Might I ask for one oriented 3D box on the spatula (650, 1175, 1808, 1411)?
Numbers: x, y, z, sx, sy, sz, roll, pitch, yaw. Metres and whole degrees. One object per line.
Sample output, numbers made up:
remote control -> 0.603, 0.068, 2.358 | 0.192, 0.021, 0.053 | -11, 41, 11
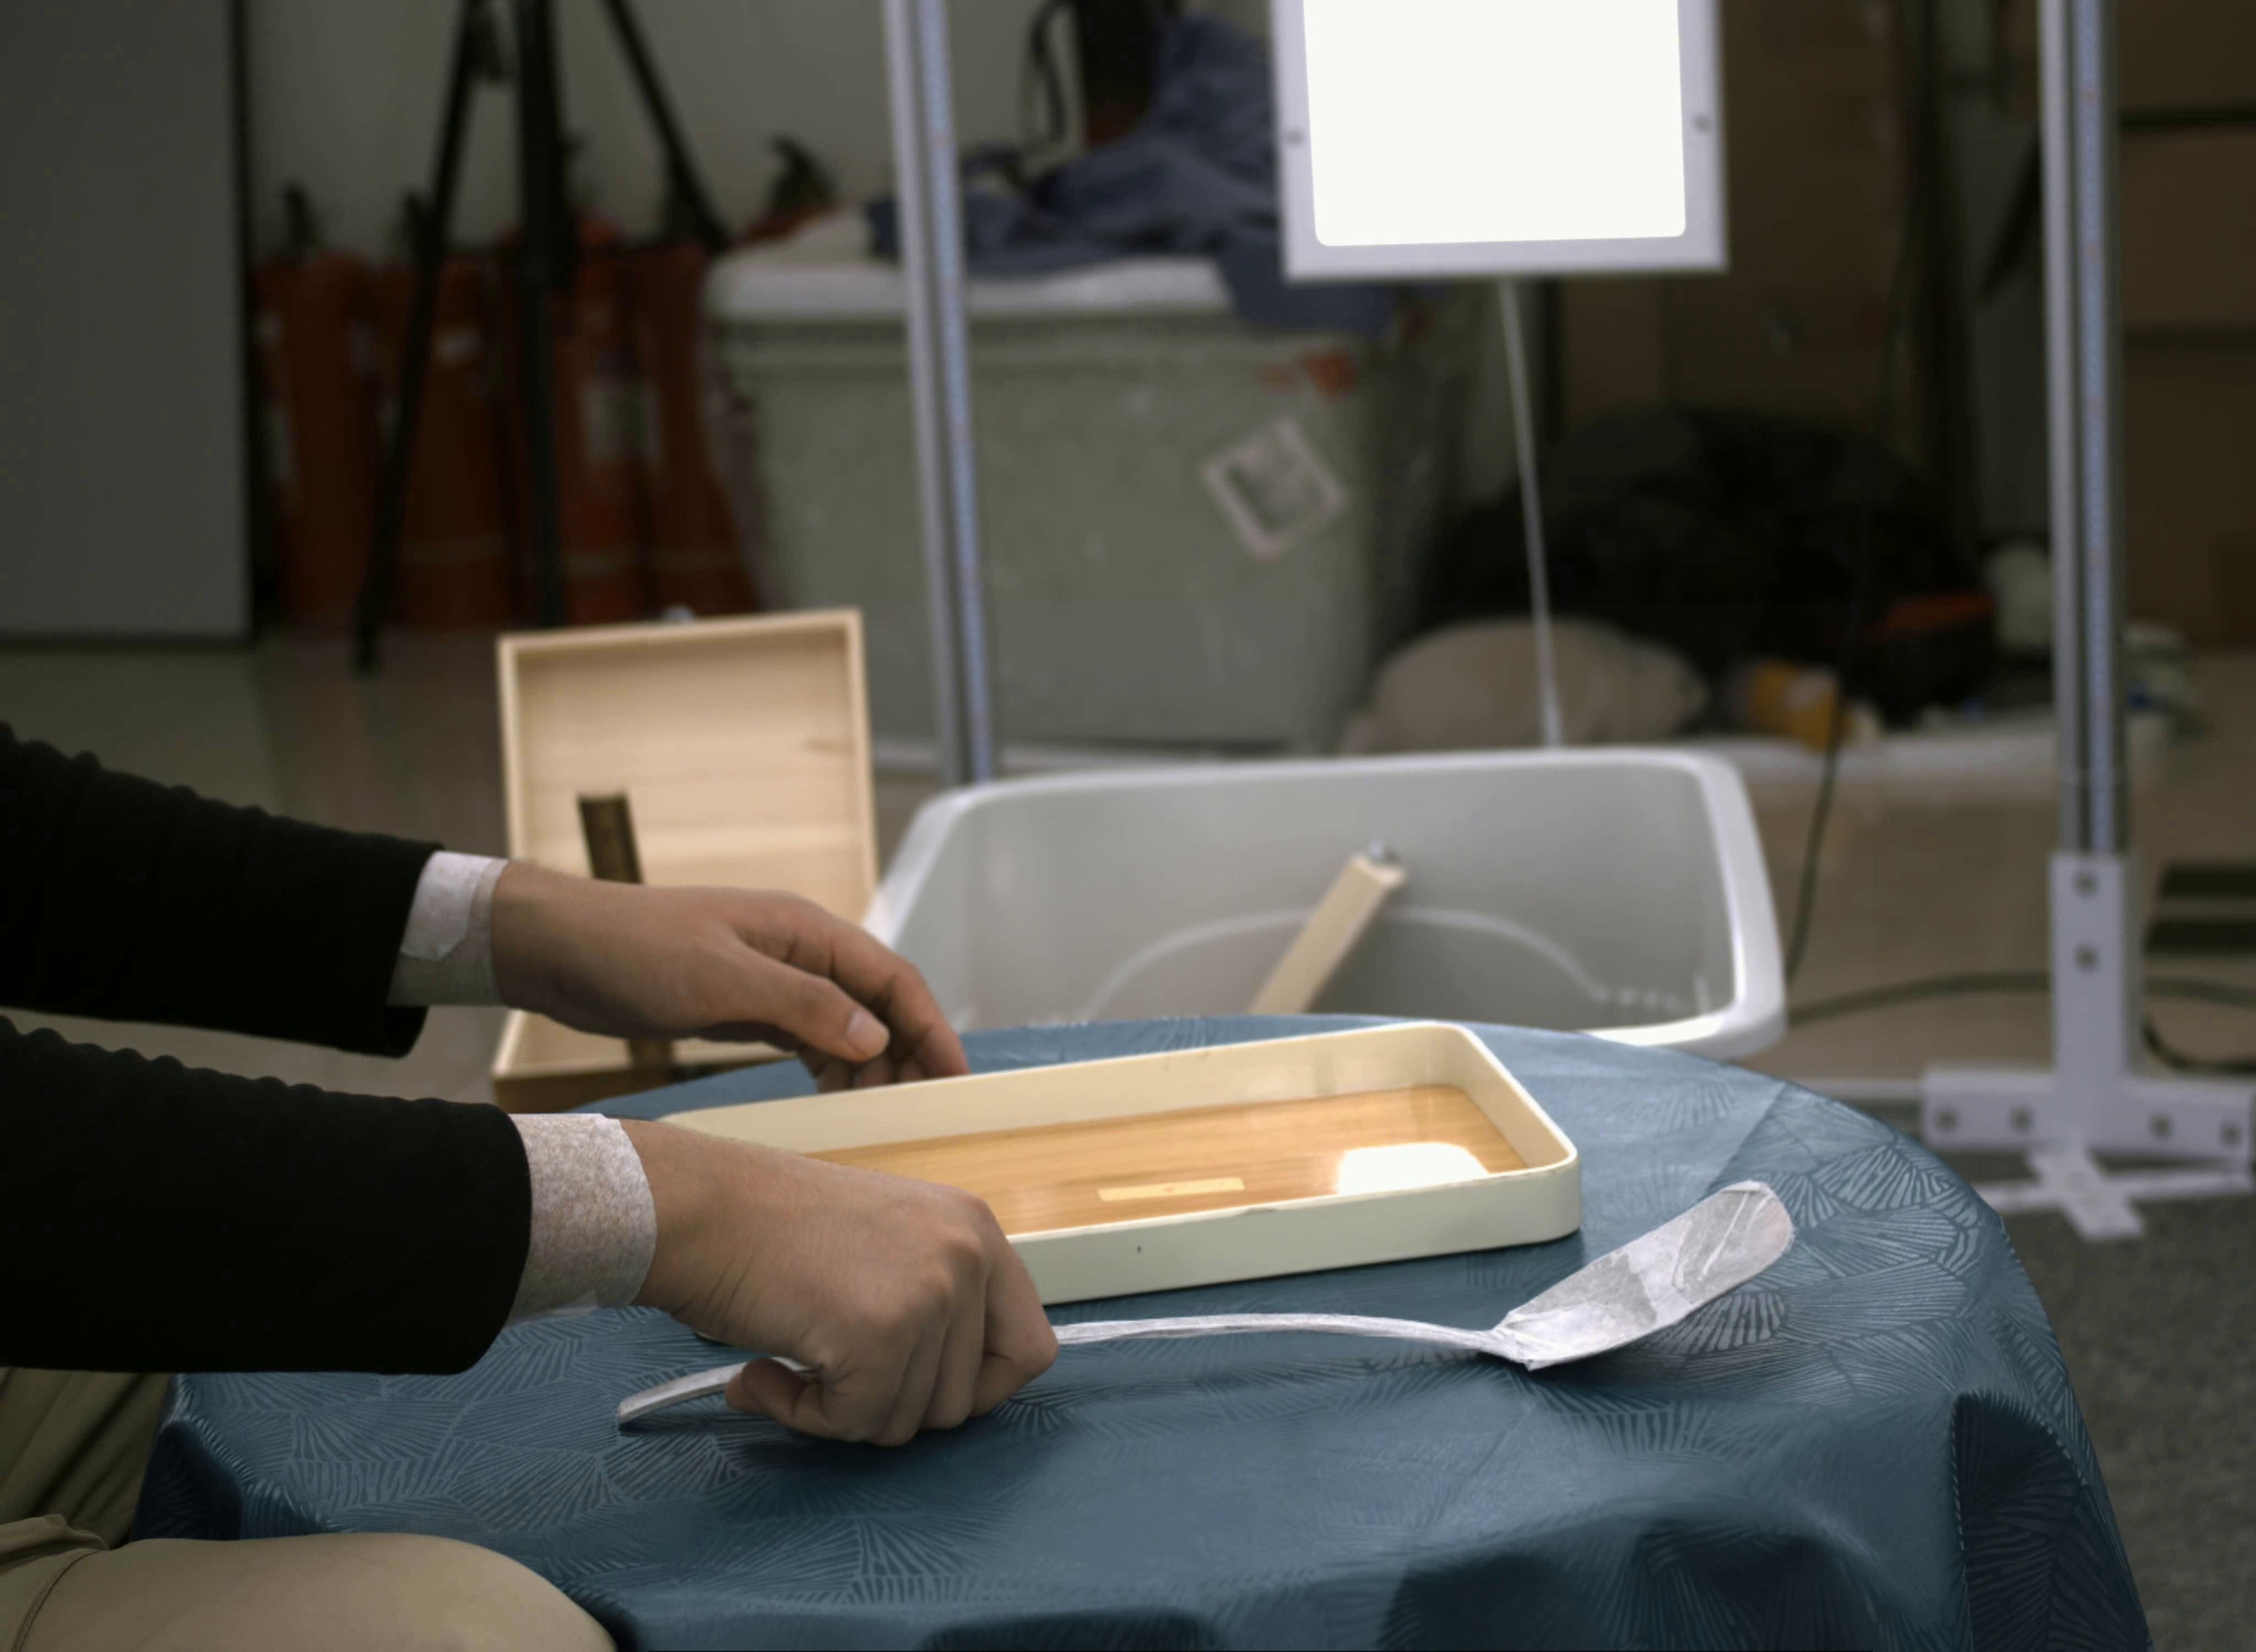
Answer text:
spatula -> 0.030, 0.150, 1.706 | 0.364, 0.045, 0.098 | -4, 11, 2

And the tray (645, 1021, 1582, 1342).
tray -> -0.009, 0.119, 1.876 | 0.298, 0.027, 0.192 | -7, 14, -6
